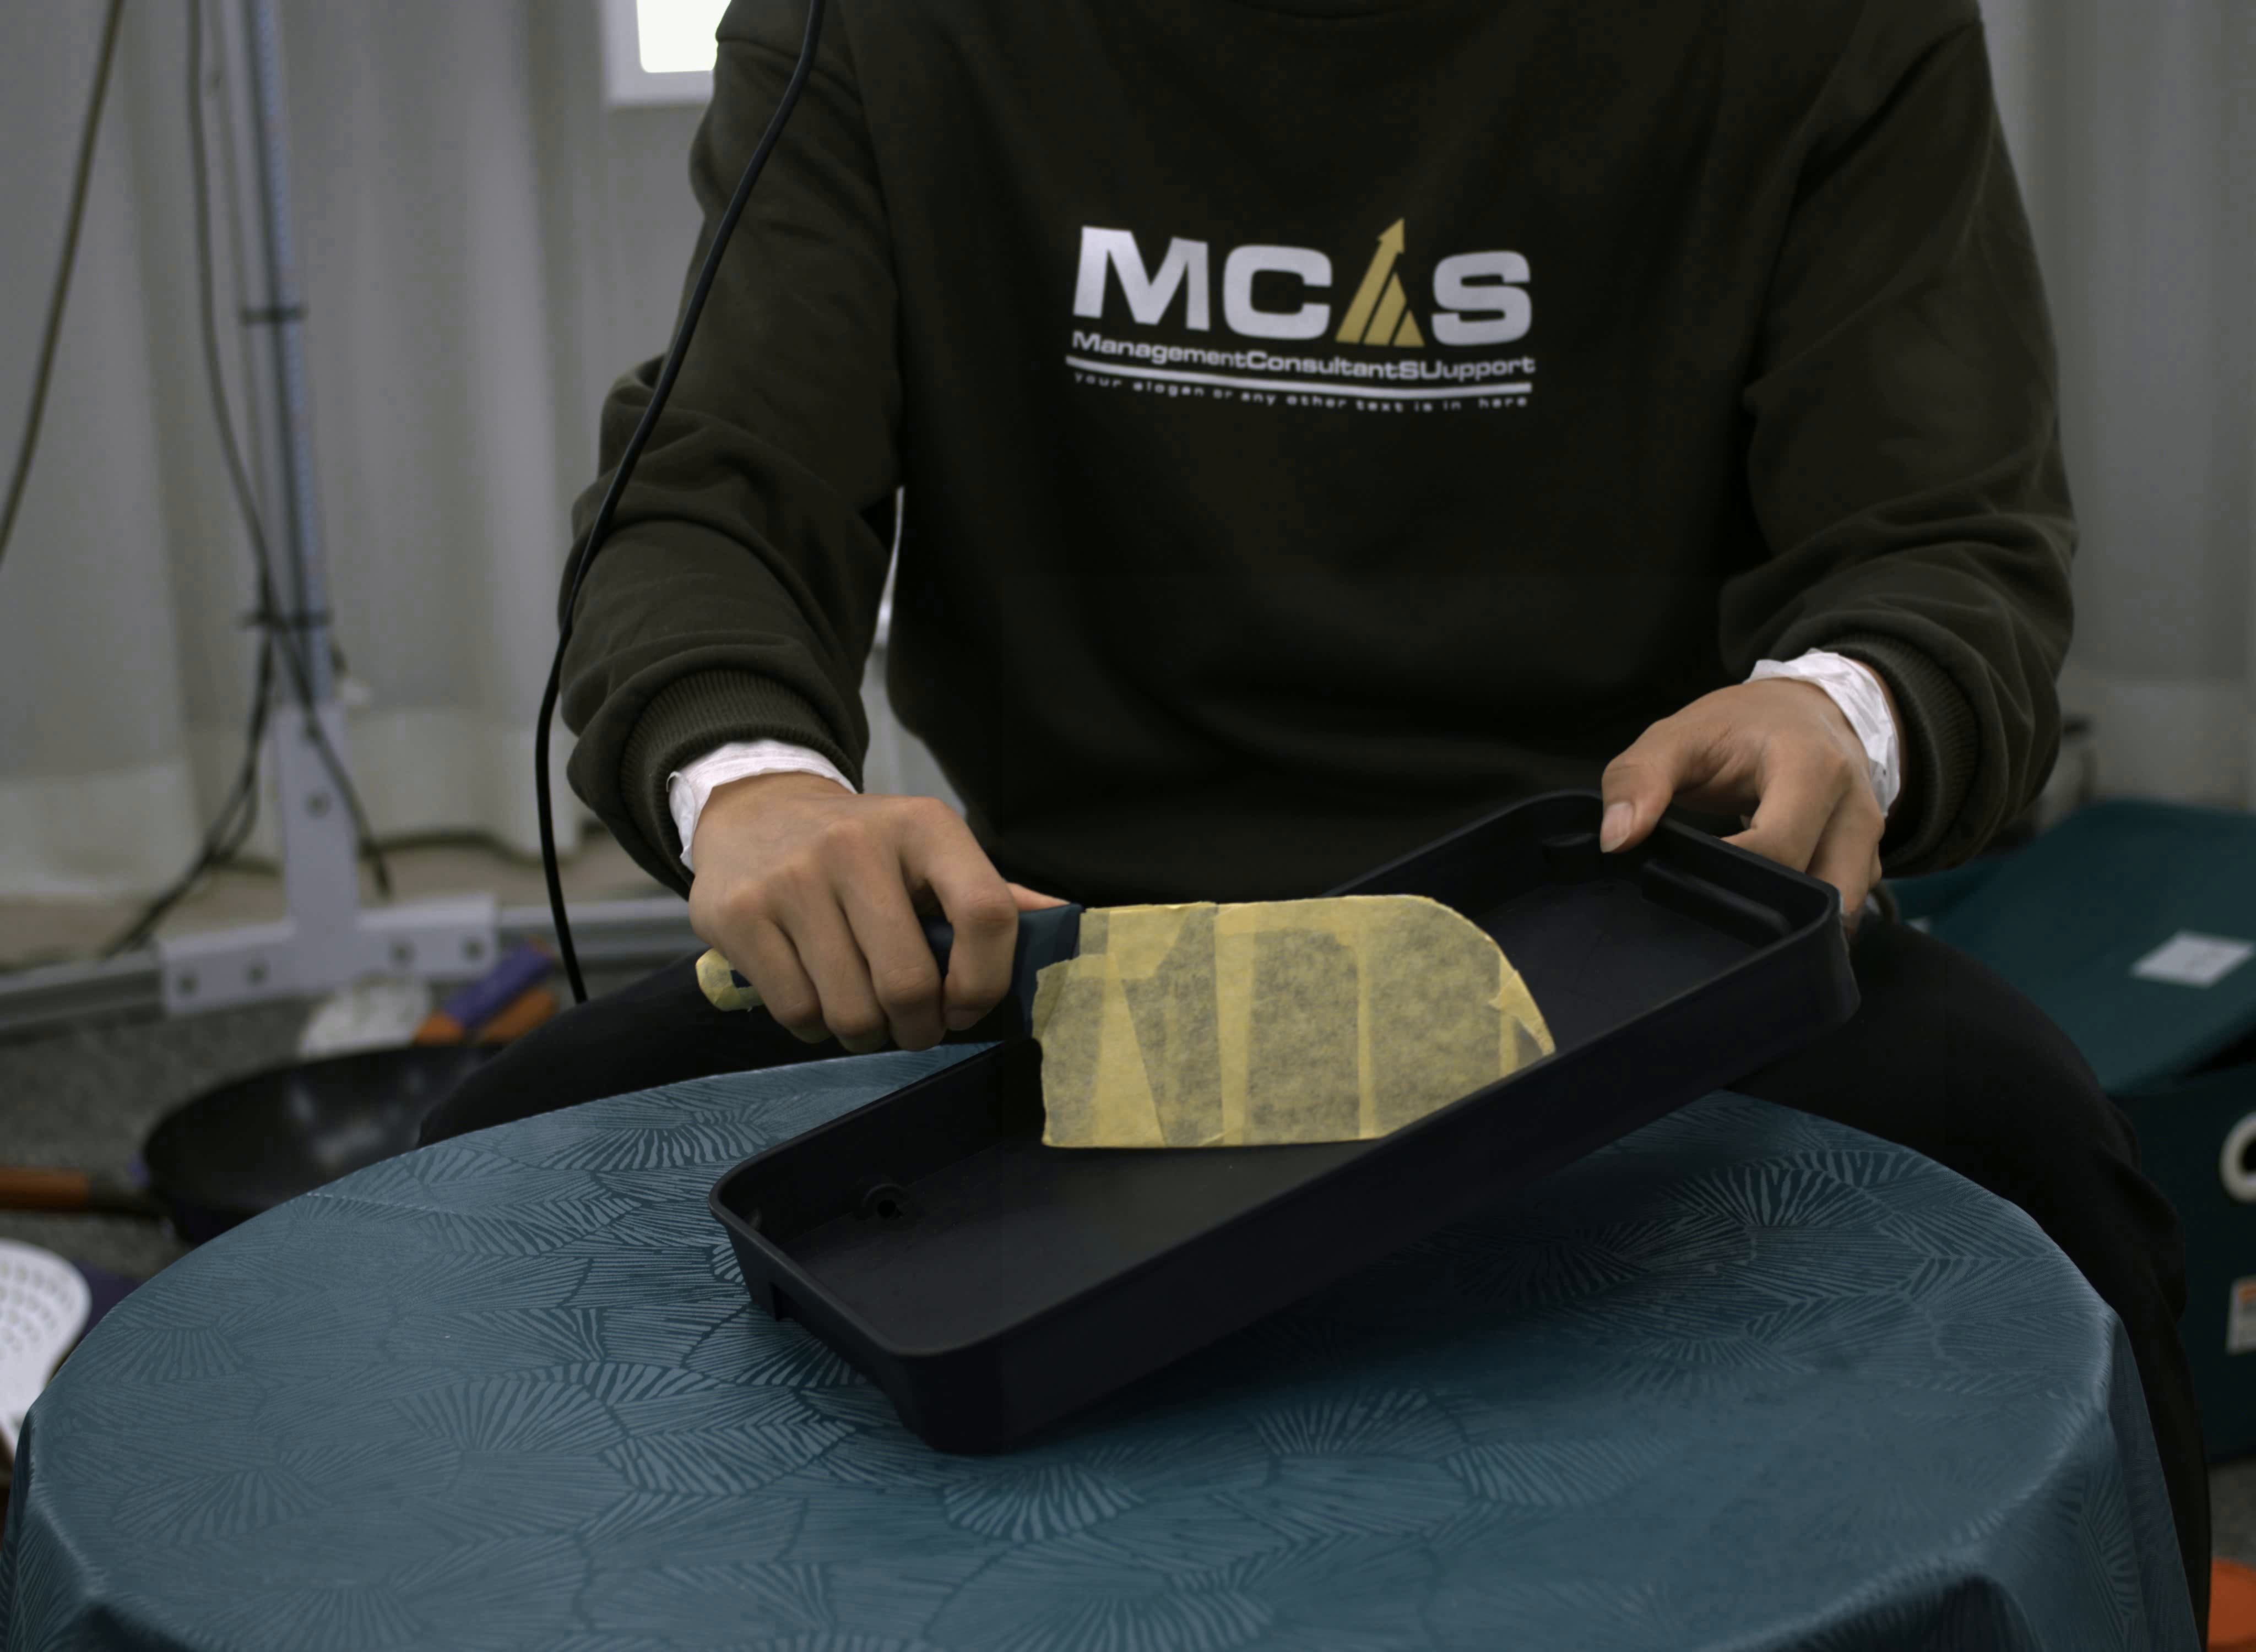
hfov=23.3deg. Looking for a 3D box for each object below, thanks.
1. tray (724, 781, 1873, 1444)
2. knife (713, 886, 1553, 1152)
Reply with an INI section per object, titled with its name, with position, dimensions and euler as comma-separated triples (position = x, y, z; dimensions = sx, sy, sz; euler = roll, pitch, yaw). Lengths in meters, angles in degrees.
[tray]
position = 0.051, 0.078, 1.617
dimensions = 0.318, 0.037, 0.185
euler = -25, 20, -19
[knife]
position = -0.002, 0.058, 1.648
dimensions = 0.290, 0.081, 0.027
euler = 0, -7, 30
